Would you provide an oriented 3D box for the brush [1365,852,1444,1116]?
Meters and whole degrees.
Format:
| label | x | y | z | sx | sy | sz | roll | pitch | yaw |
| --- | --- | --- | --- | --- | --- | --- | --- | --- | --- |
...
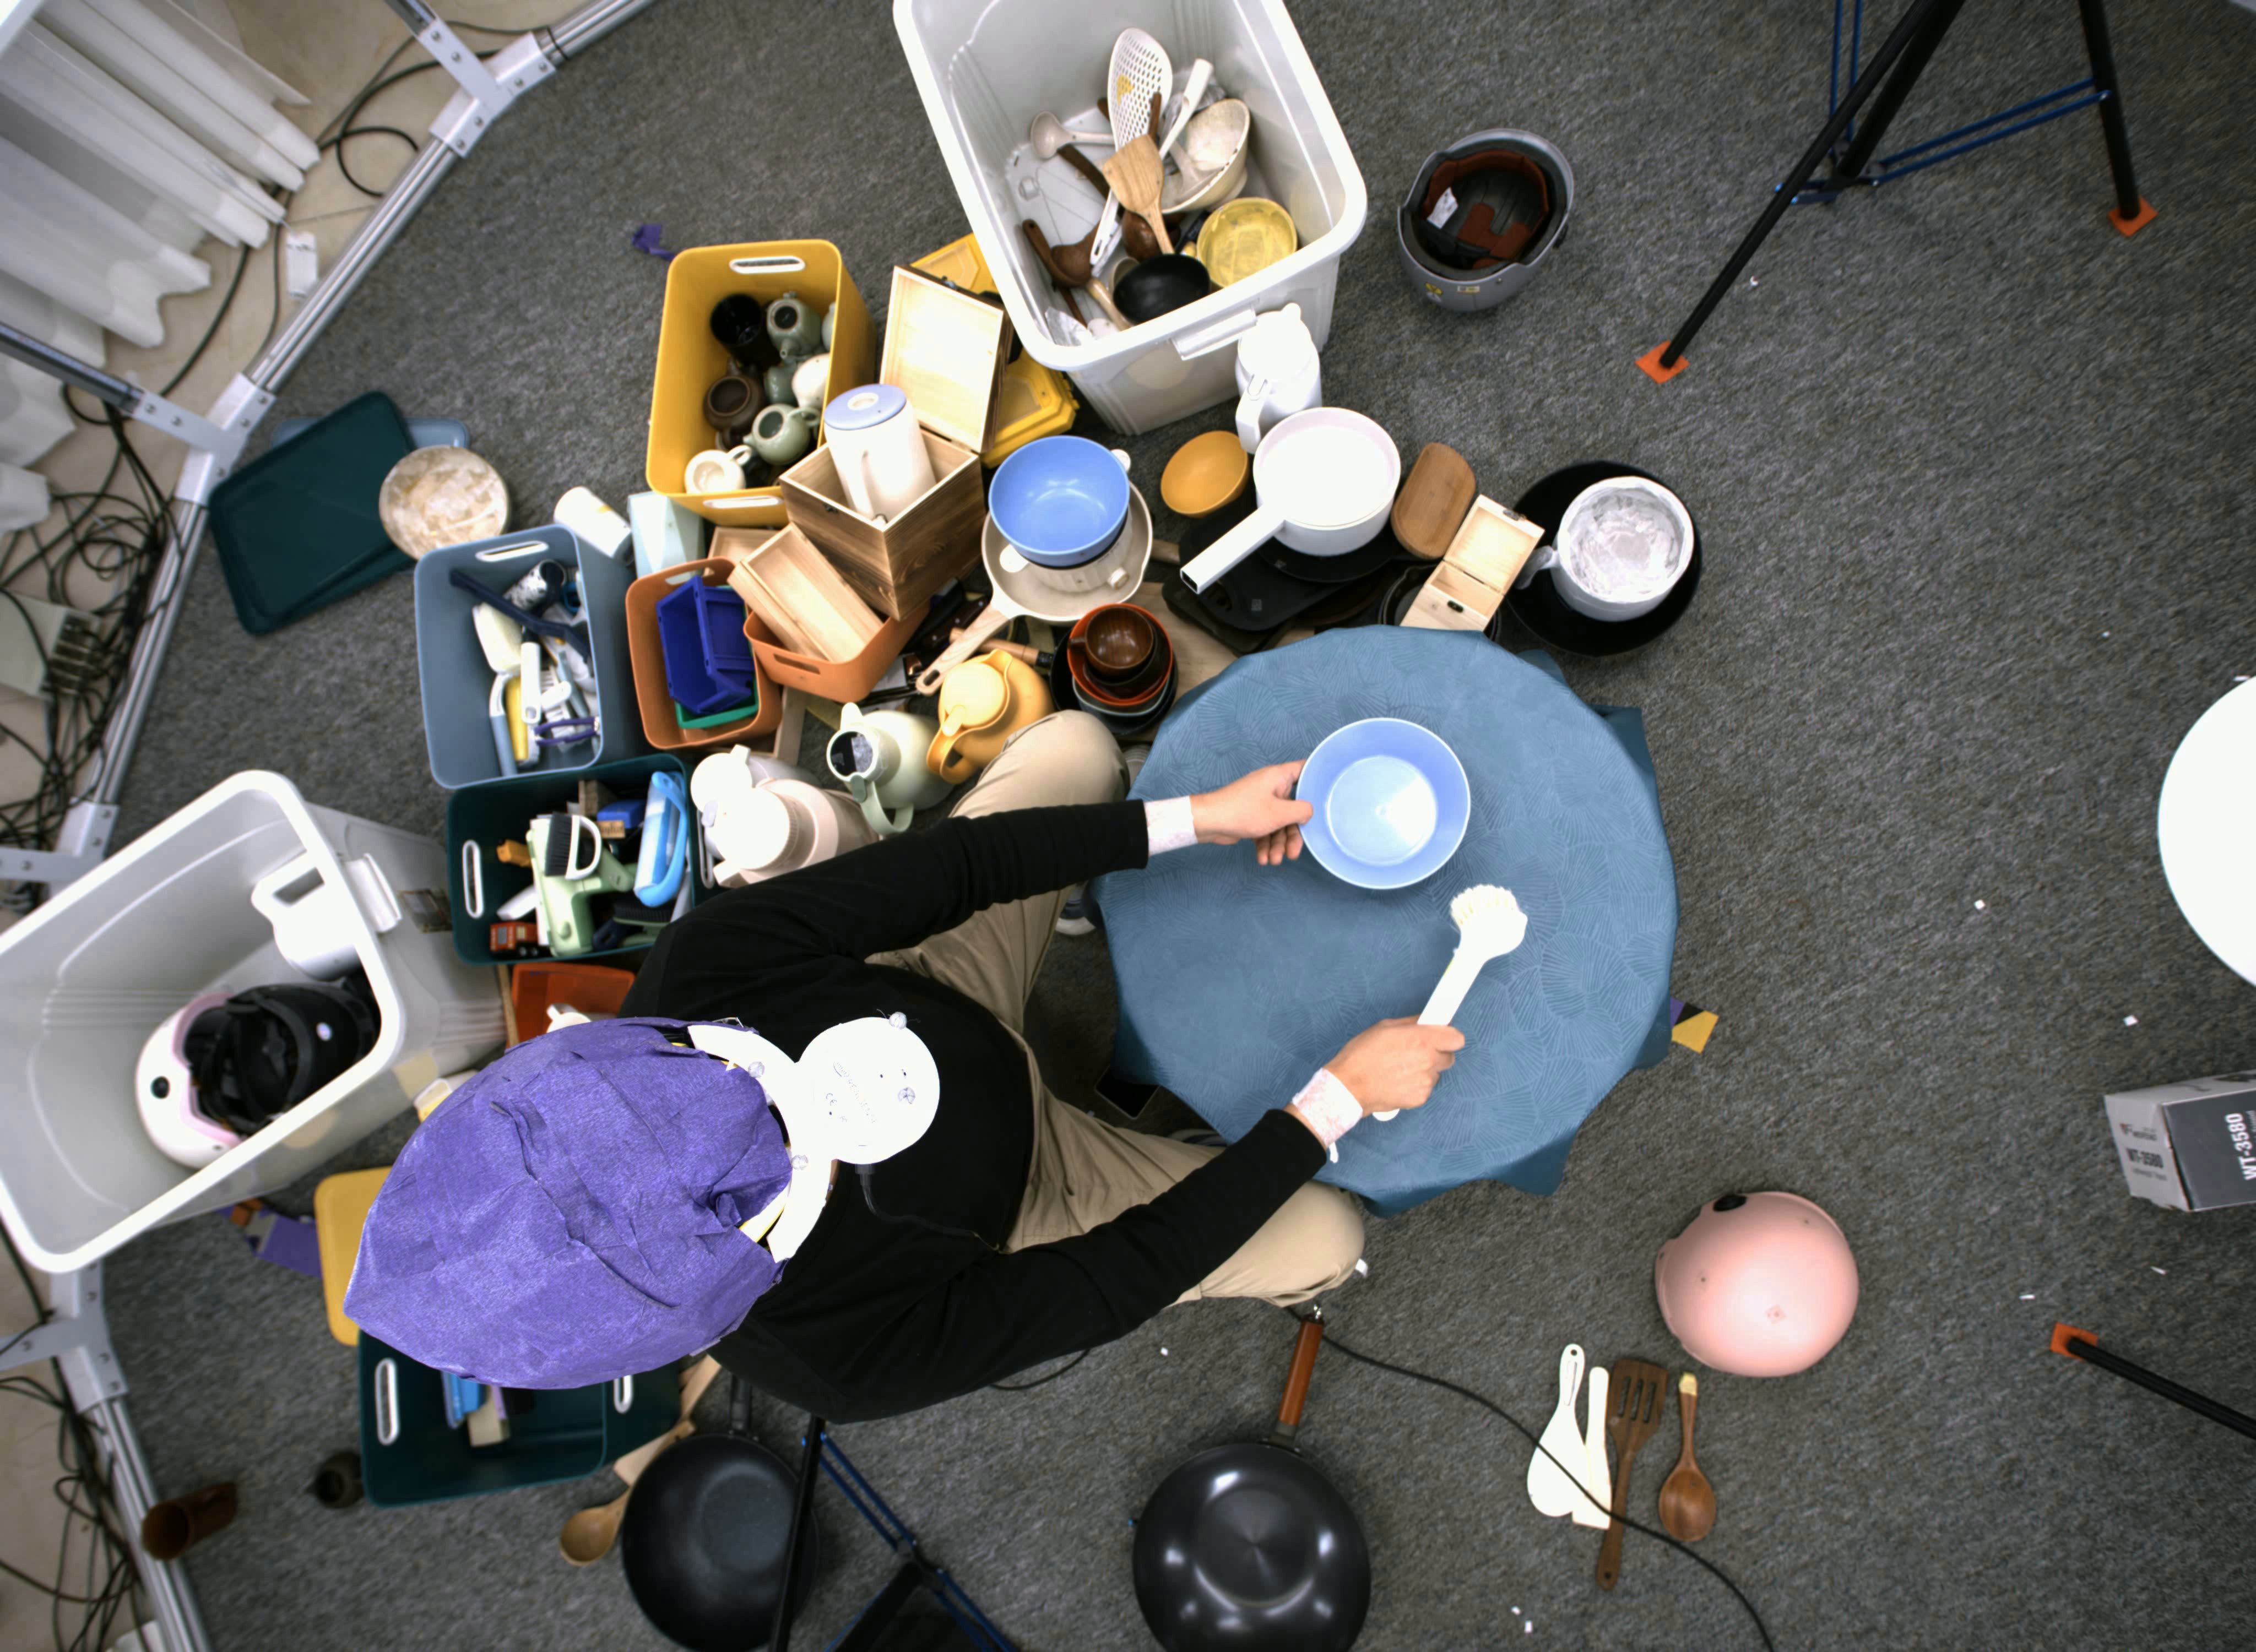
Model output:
| label | x | y | z | sx | sy | sz | roll | pitch | yaw |
| --- | --- | --- | --- | --- | --- | --- | --- | --- | --- |
| brush | 0.266 | 0.155 | 1.381 | 0.068 | 0.055 | 0.269 | 7 | 105 | 3 |

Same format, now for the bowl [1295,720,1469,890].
| label | x | y | z | sx | sy | sz | roll | pitch | yaw |
| --- | --- | --- | --- | --- | --- | --- | --- | --- | --- |
| bowl | 0.263 | -0.019 | 1.429 | 0.177 | 0.070 | 0.175 | -1 | 84 | 11 |
